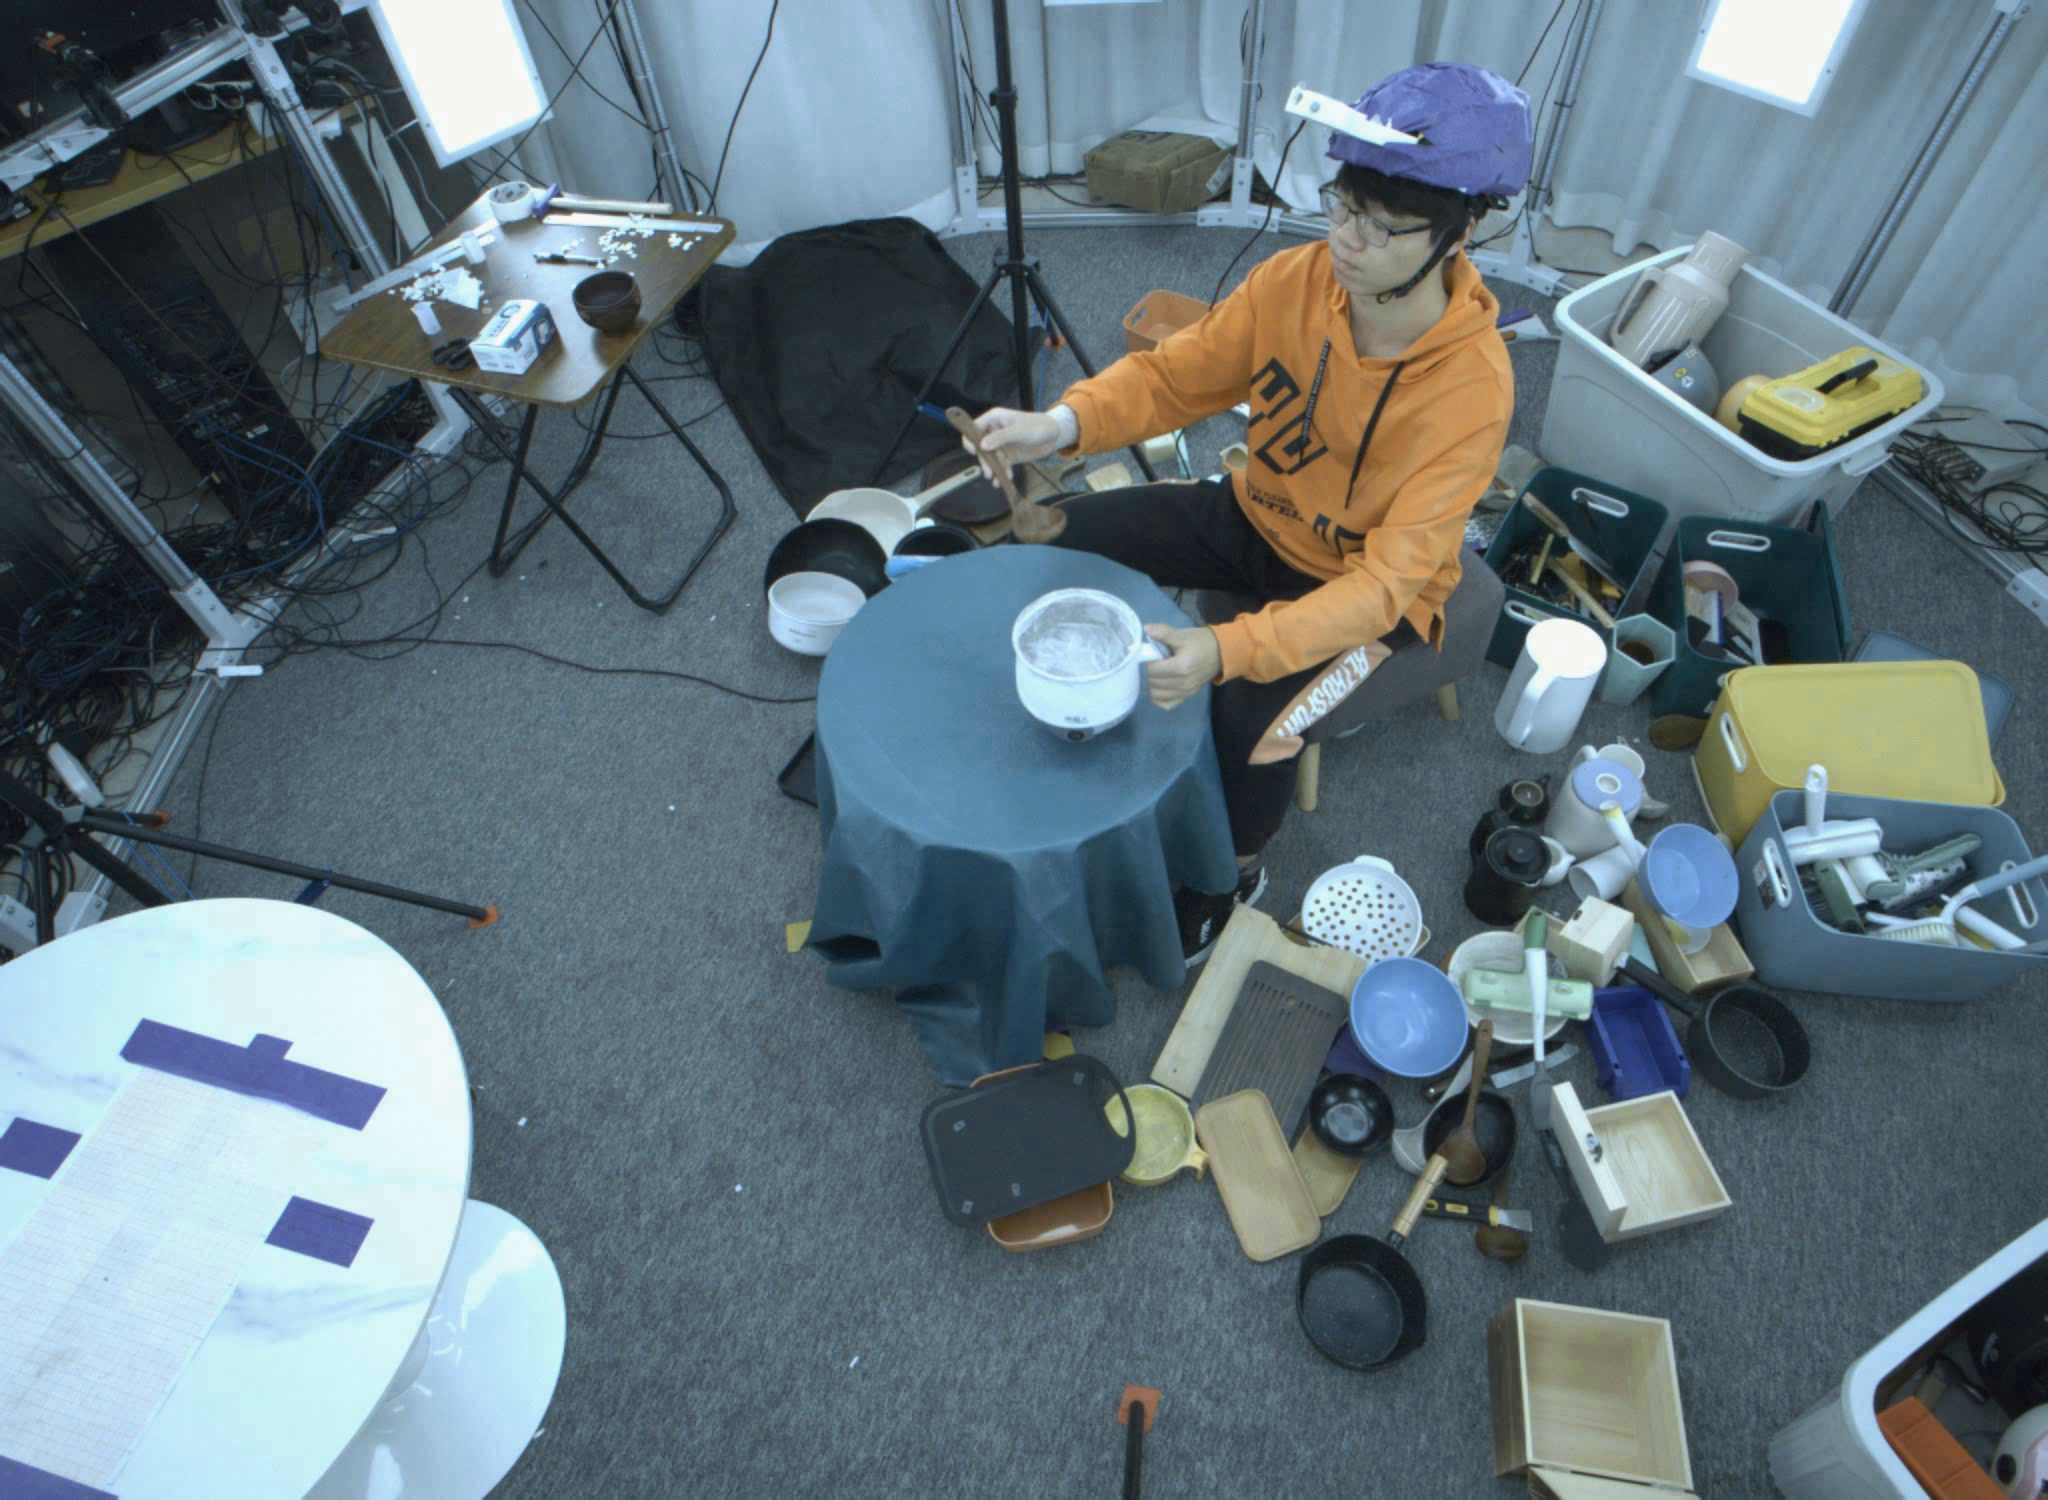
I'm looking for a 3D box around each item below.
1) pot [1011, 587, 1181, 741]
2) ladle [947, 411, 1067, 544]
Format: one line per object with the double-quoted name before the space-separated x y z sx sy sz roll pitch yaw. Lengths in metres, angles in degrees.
"pot" 0.102 -0.120 1.722 0.233 0.138 0.177 0 53 3
"ladle" -0.032 -0.388 1.680 0.077 0.065 0.259 -29 81 -27
